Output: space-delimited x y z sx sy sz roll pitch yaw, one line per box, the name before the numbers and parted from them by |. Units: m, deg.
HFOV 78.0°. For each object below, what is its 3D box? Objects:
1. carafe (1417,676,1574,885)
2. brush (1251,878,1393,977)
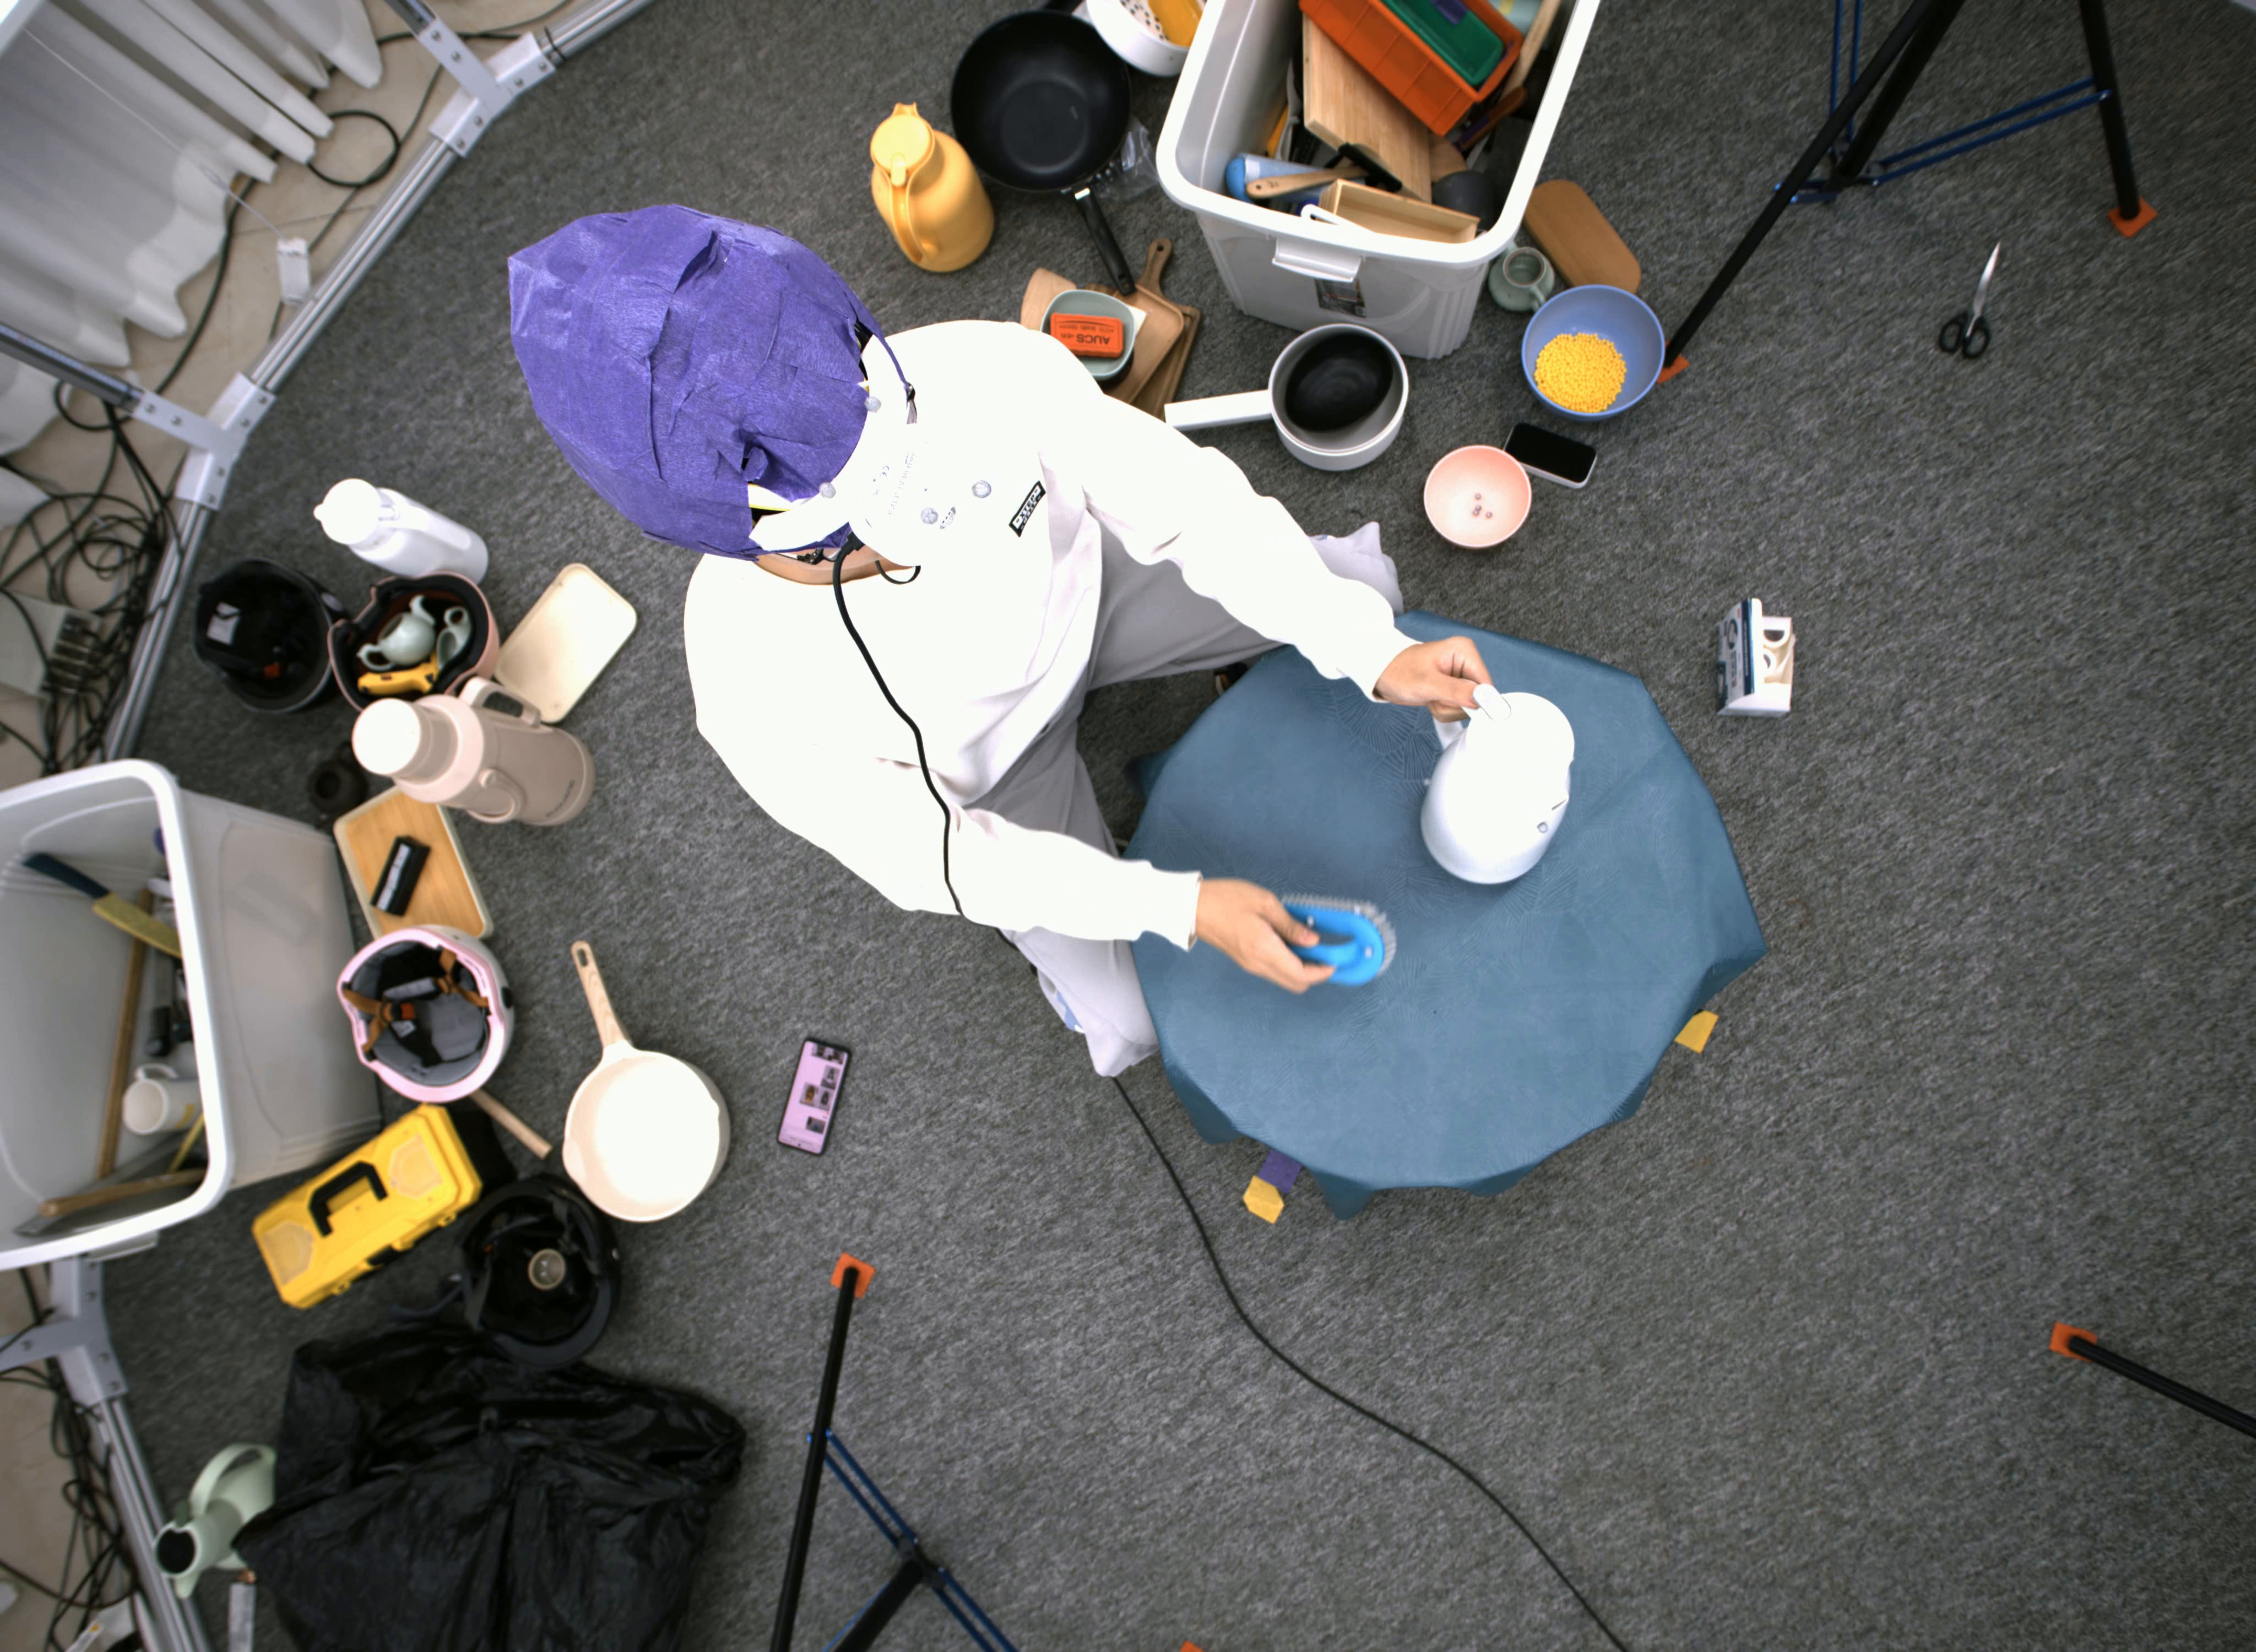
carafe | 0.339 -0.056 1.297 0.132 0.251 0.166 -32 72 -3
brush | 0.182 0.103 1.348 0.142 0.062 0.086 10 117 34
